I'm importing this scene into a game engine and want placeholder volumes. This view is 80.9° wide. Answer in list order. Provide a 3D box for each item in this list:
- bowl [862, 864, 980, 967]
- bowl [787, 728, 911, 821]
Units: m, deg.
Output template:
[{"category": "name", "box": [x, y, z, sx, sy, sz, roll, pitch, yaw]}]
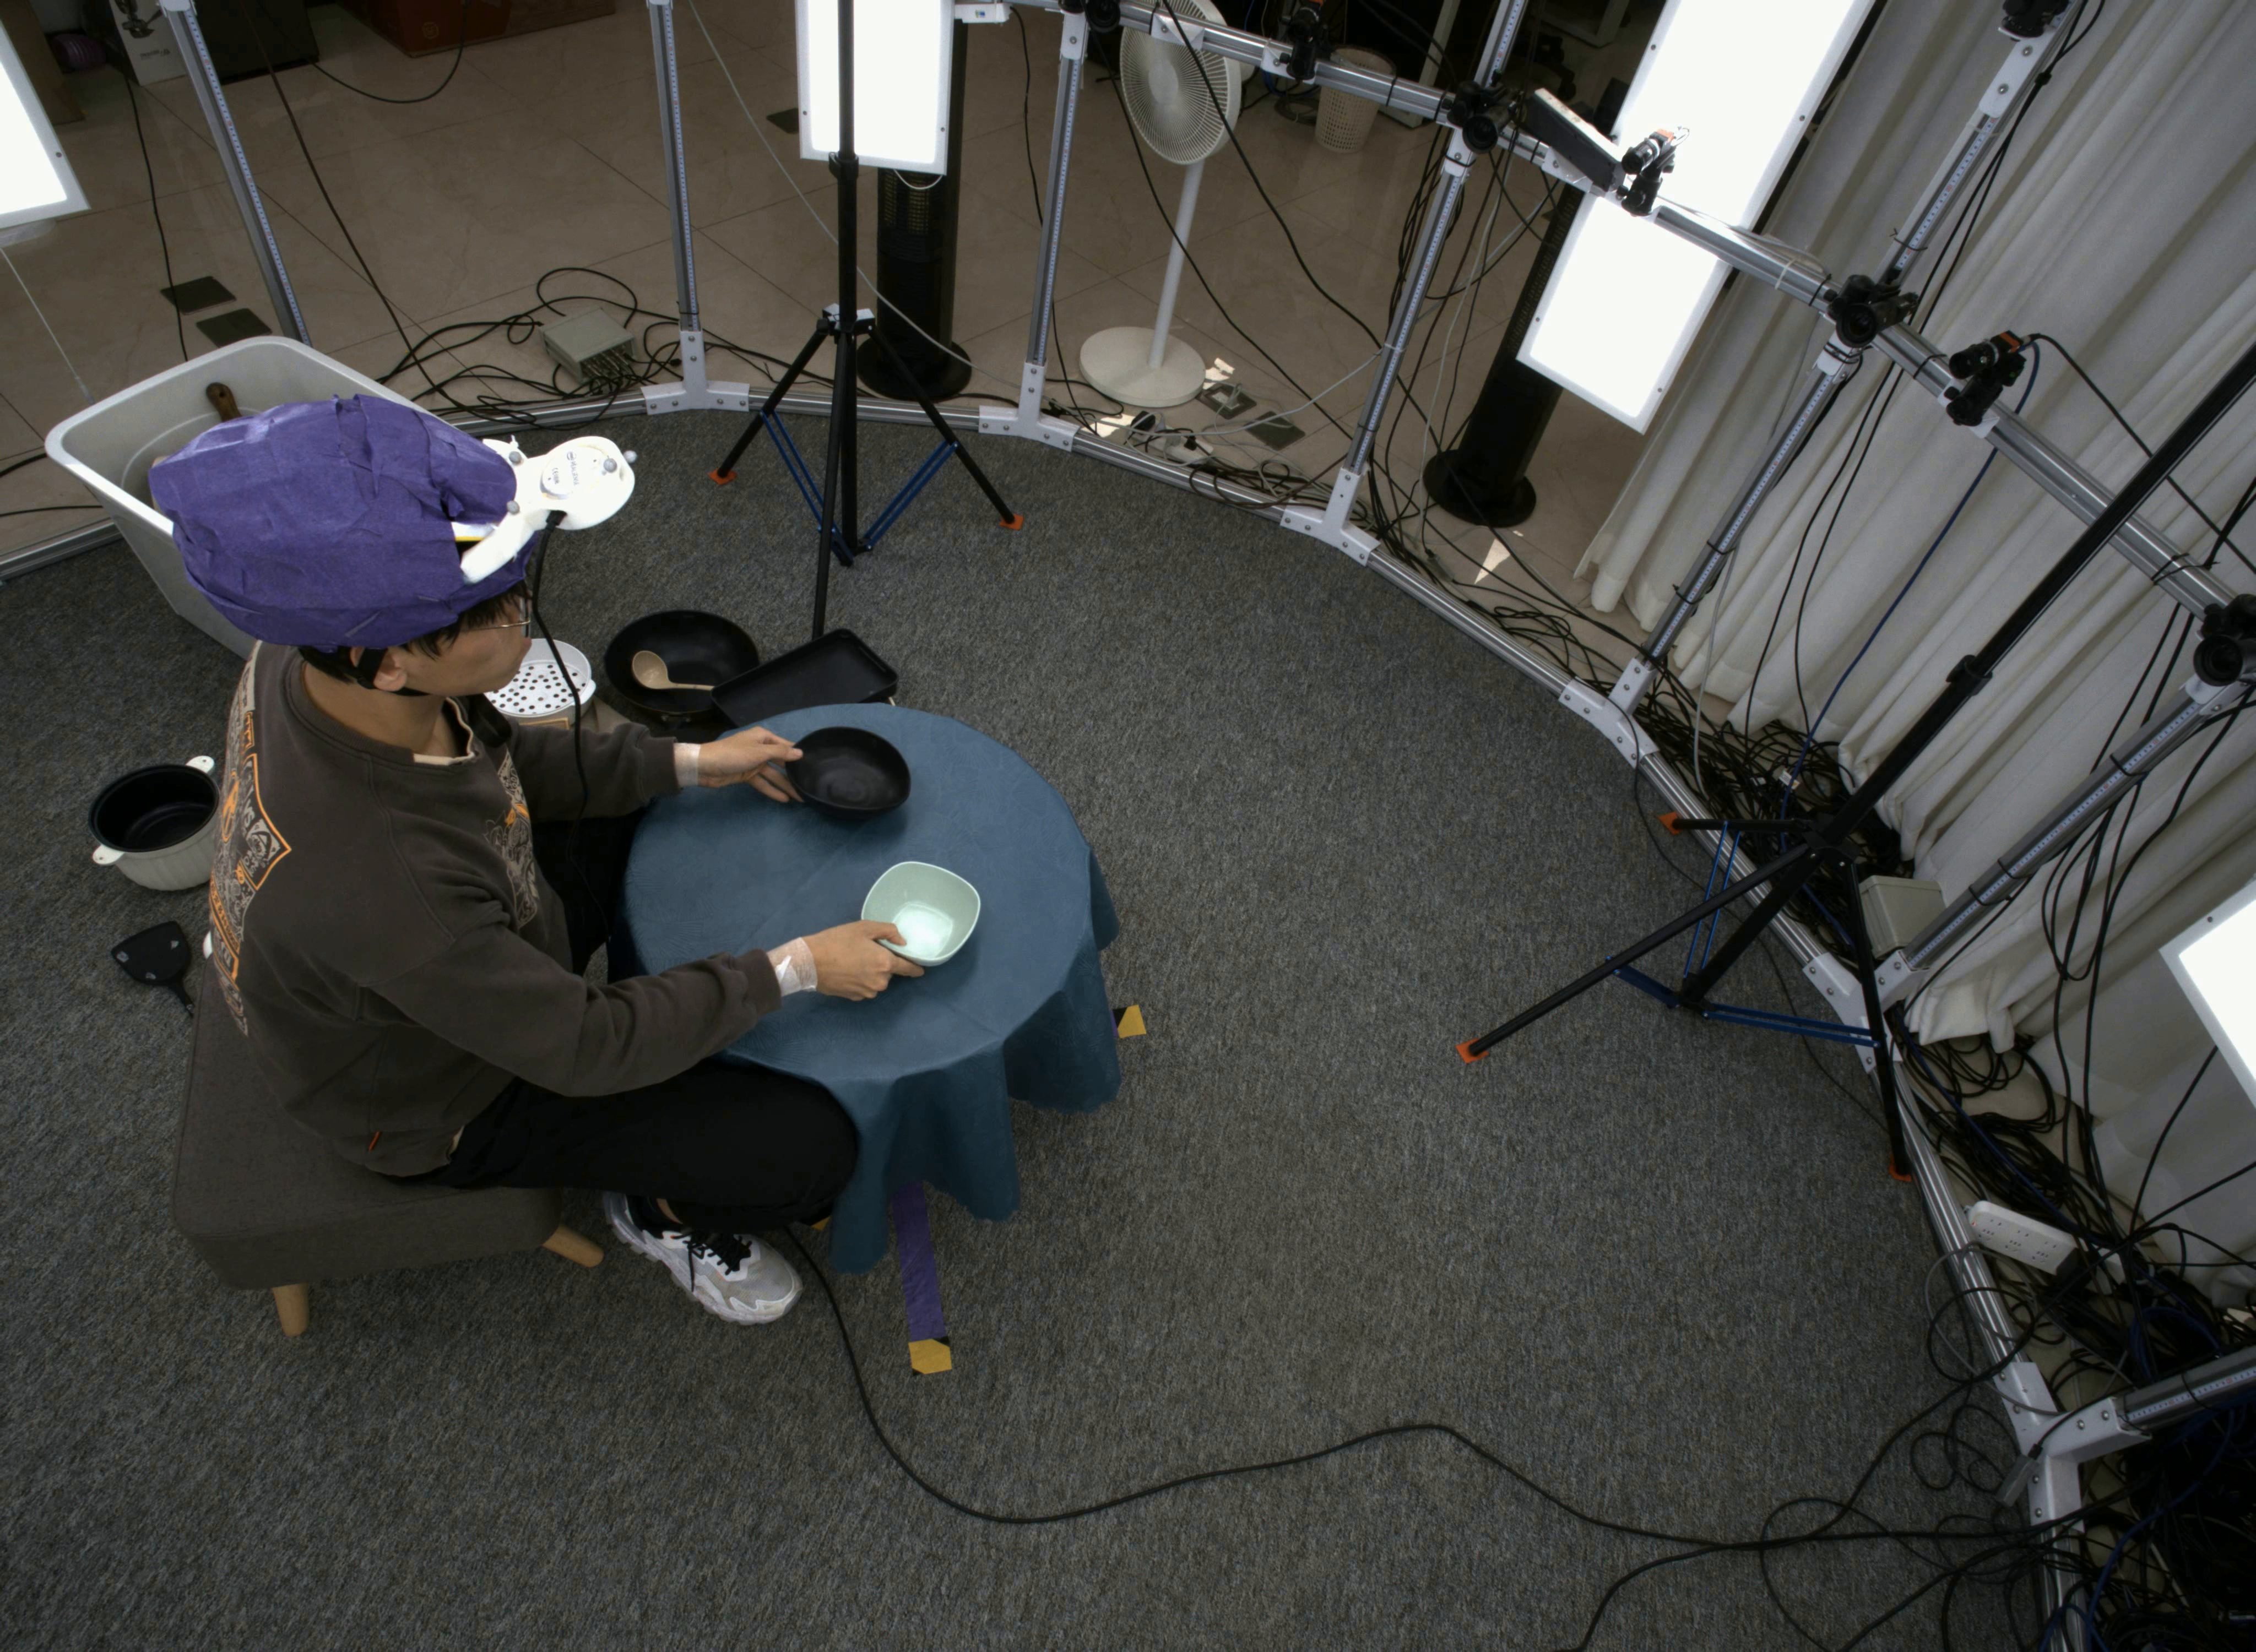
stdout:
[{"category": "bowl", "box": [-0.263, 0.122, 1.651, 0.151, 0.060, 0.148, 8, 51, -8]}, {"category": "bowl", "box": [-0.375, -0.059, 1.753, 0.169, 0.068, 0.136, 18, 52, -2]}]
